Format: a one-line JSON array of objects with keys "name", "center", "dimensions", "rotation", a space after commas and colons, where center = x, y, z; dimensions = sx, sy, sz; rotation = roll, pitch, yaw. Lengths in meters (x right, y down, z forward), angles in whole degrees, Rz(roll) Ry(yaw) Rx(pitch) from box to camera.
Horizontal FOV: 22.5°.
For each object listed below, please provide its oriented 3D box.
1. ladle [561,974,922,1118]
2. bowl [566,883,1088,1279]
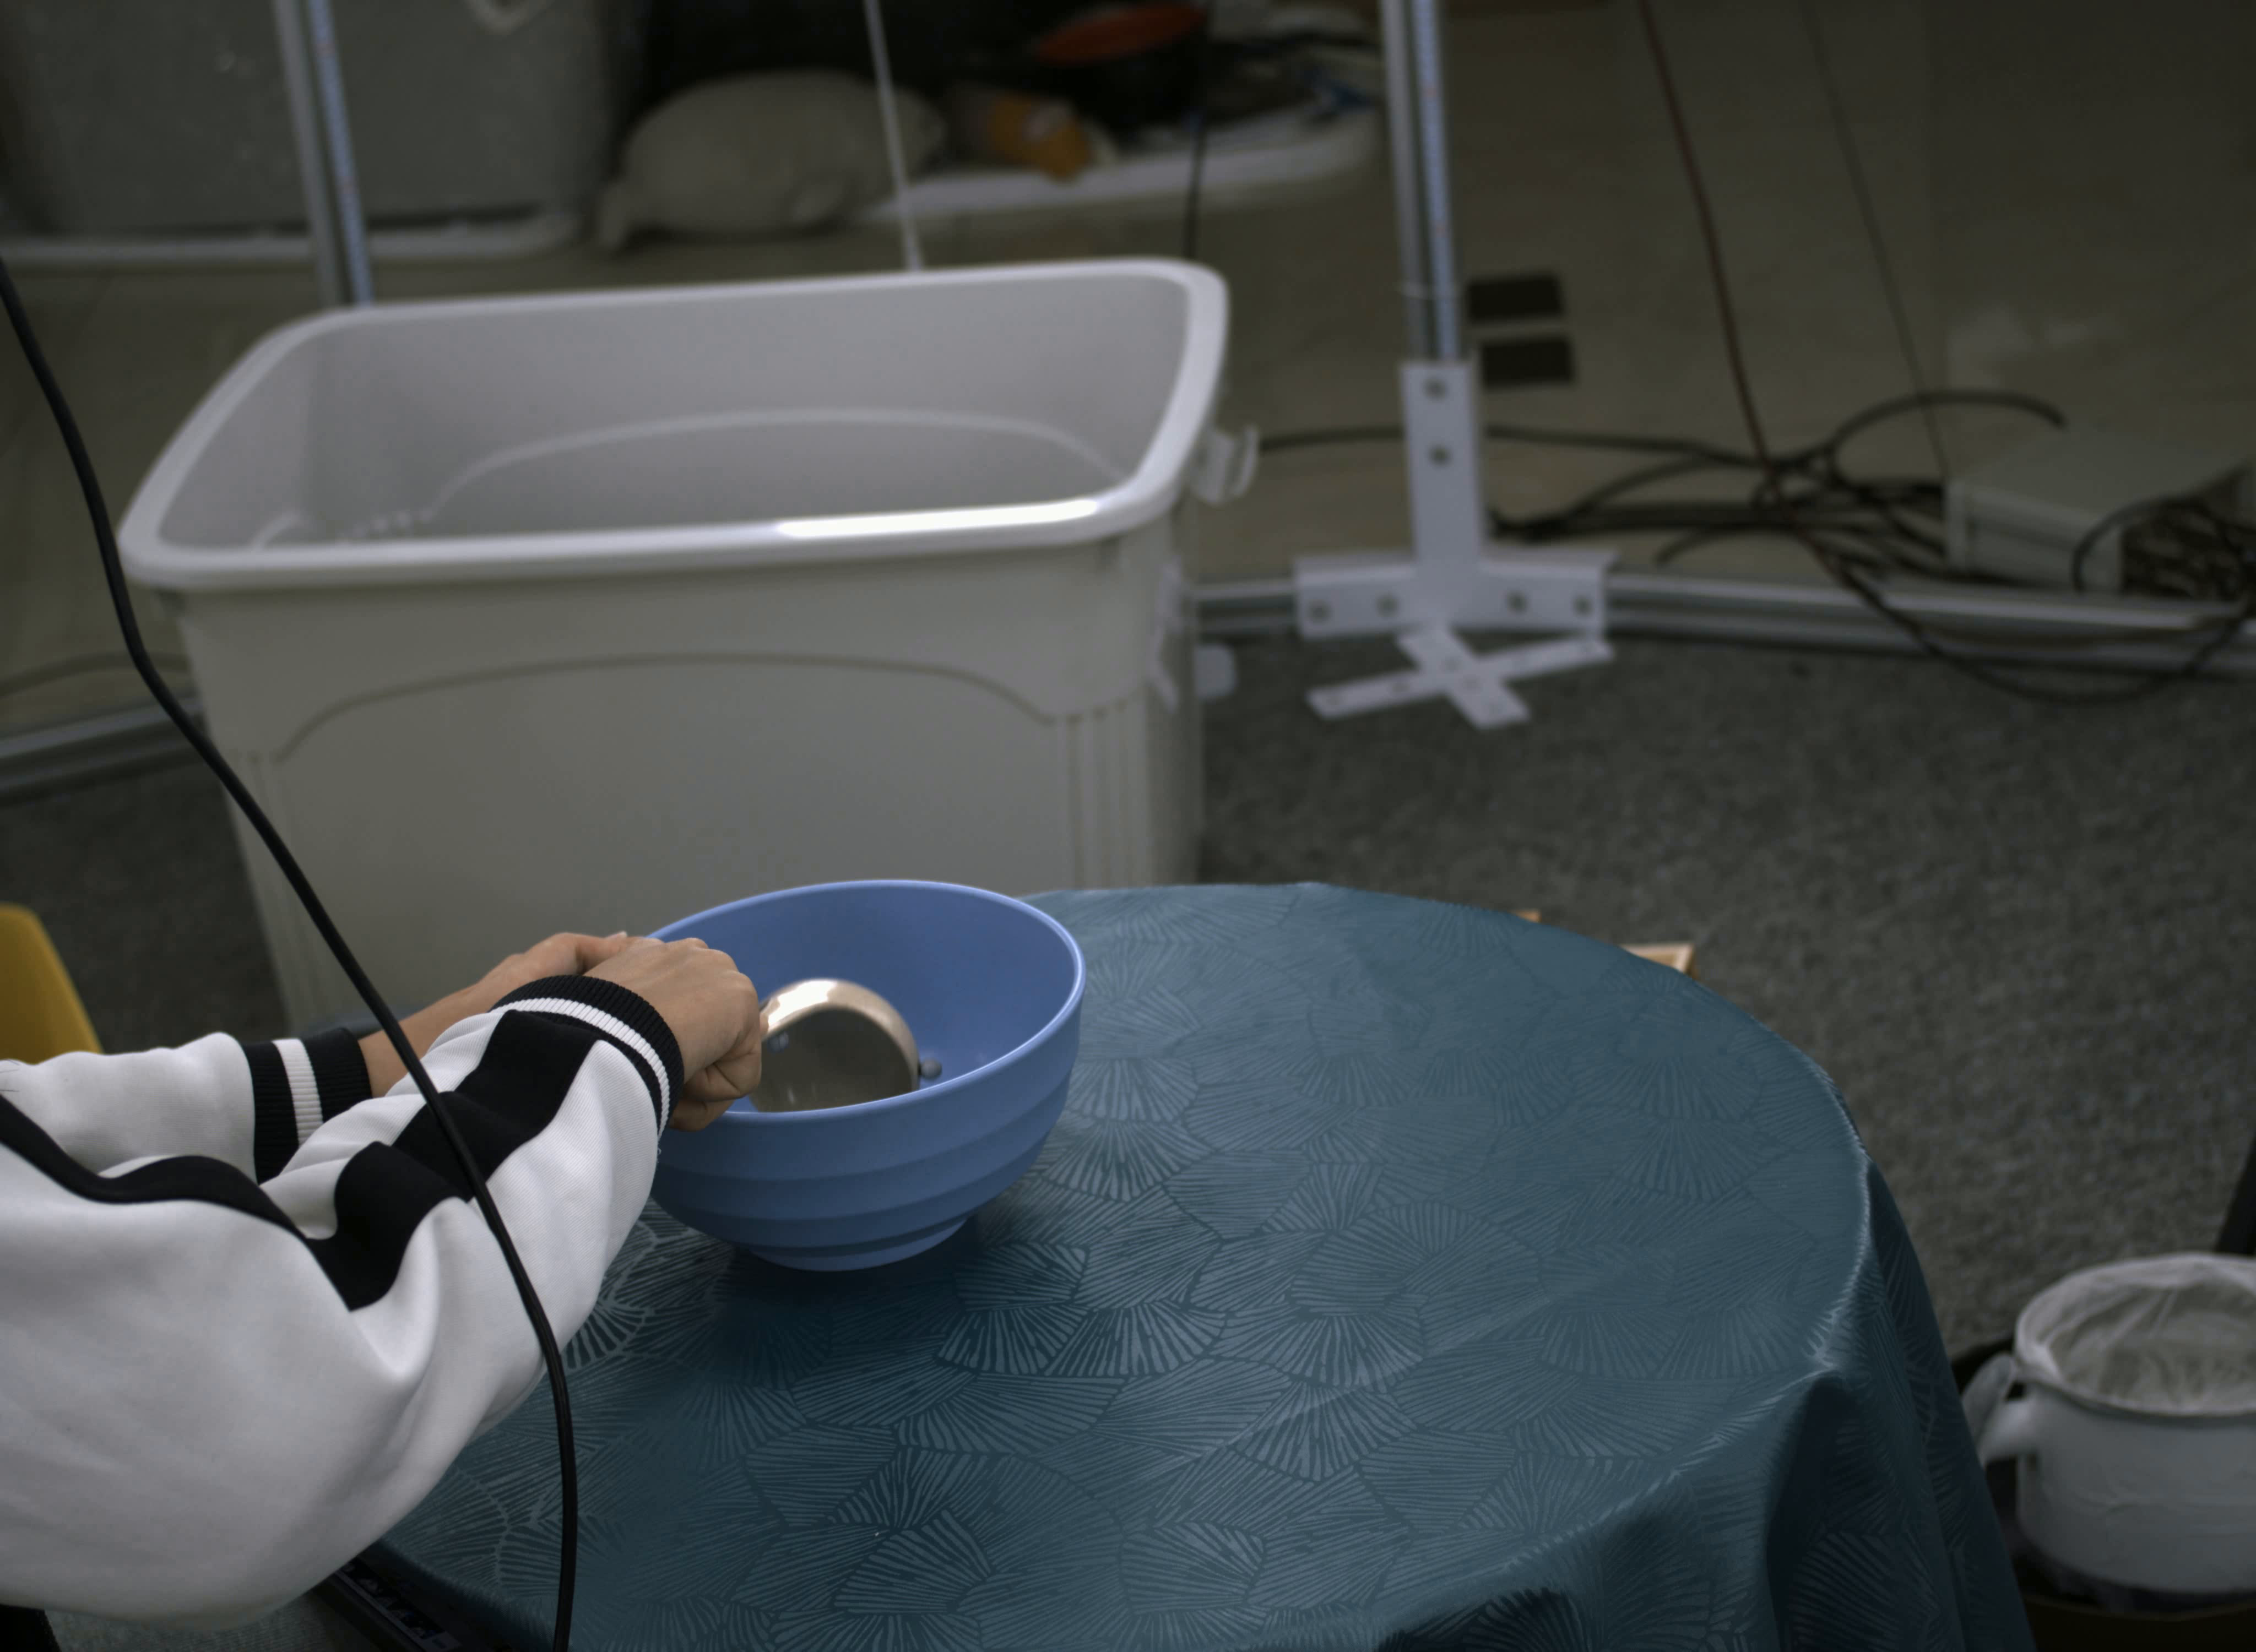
[{"name": "ladle", "center": [-0.145, 0.105, 2.043], "dimensions": [0.072, 0.073, 0.253], "rotation": [6, 10, 19]}, {"name": "bowl", "center": [-0.108, 0.107, 2.137], "dimensions": [0.196, 0.097, 0.193], "rotation": [-5, 27, 2]}]
